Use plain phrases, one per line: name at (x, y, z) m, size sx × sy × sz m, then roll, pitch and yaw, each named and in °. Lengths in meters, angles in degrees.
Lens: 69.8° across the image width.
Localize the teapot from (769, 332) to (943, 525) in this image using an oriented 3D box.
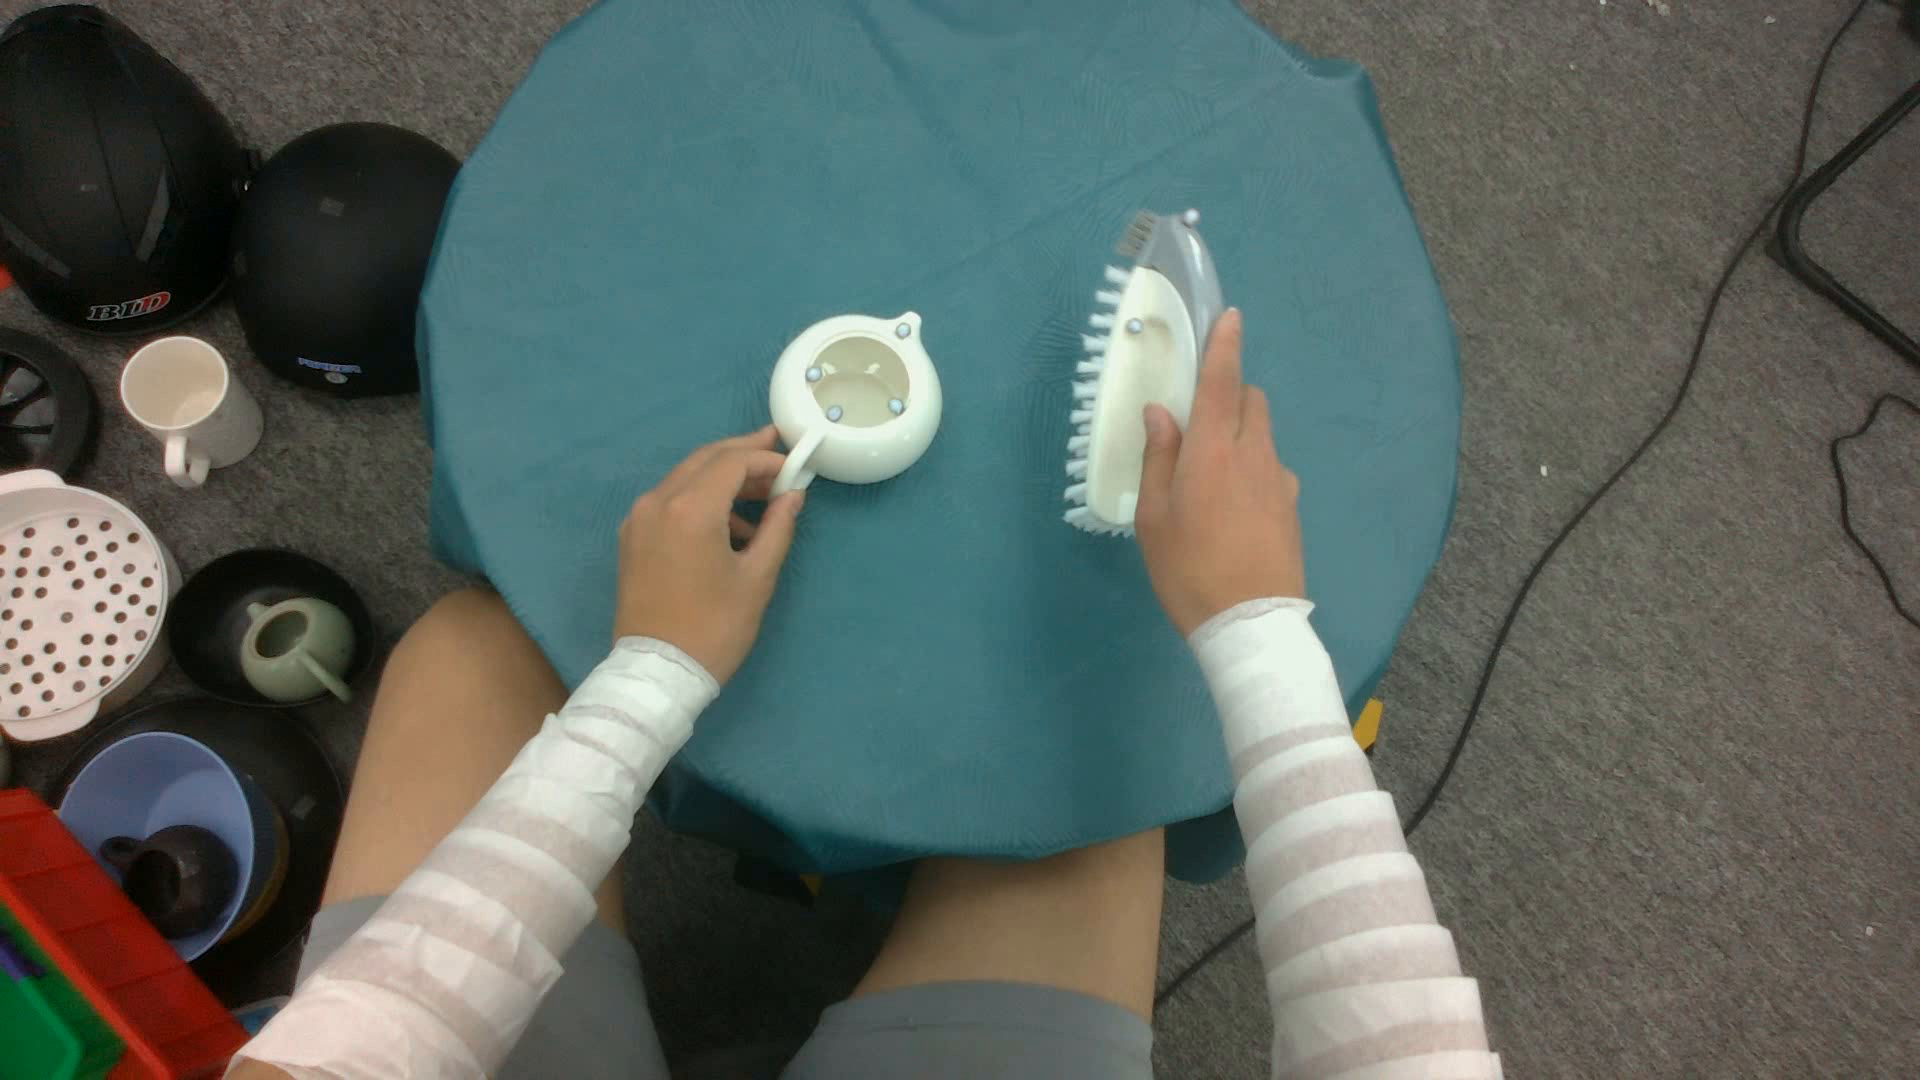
teapot at (-0.062, -0.059, 0.754) m, size 0.093 × 0.056 × 0.128 m, roll 34°, pitch 70°, yaw 0°

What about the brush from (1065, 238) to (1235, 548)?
brush at (0.108, -0.084, 0.734) m, size 0.061 × 0.094 × 0.176 m, roll 13°, pitch 81°, yaw -30°
